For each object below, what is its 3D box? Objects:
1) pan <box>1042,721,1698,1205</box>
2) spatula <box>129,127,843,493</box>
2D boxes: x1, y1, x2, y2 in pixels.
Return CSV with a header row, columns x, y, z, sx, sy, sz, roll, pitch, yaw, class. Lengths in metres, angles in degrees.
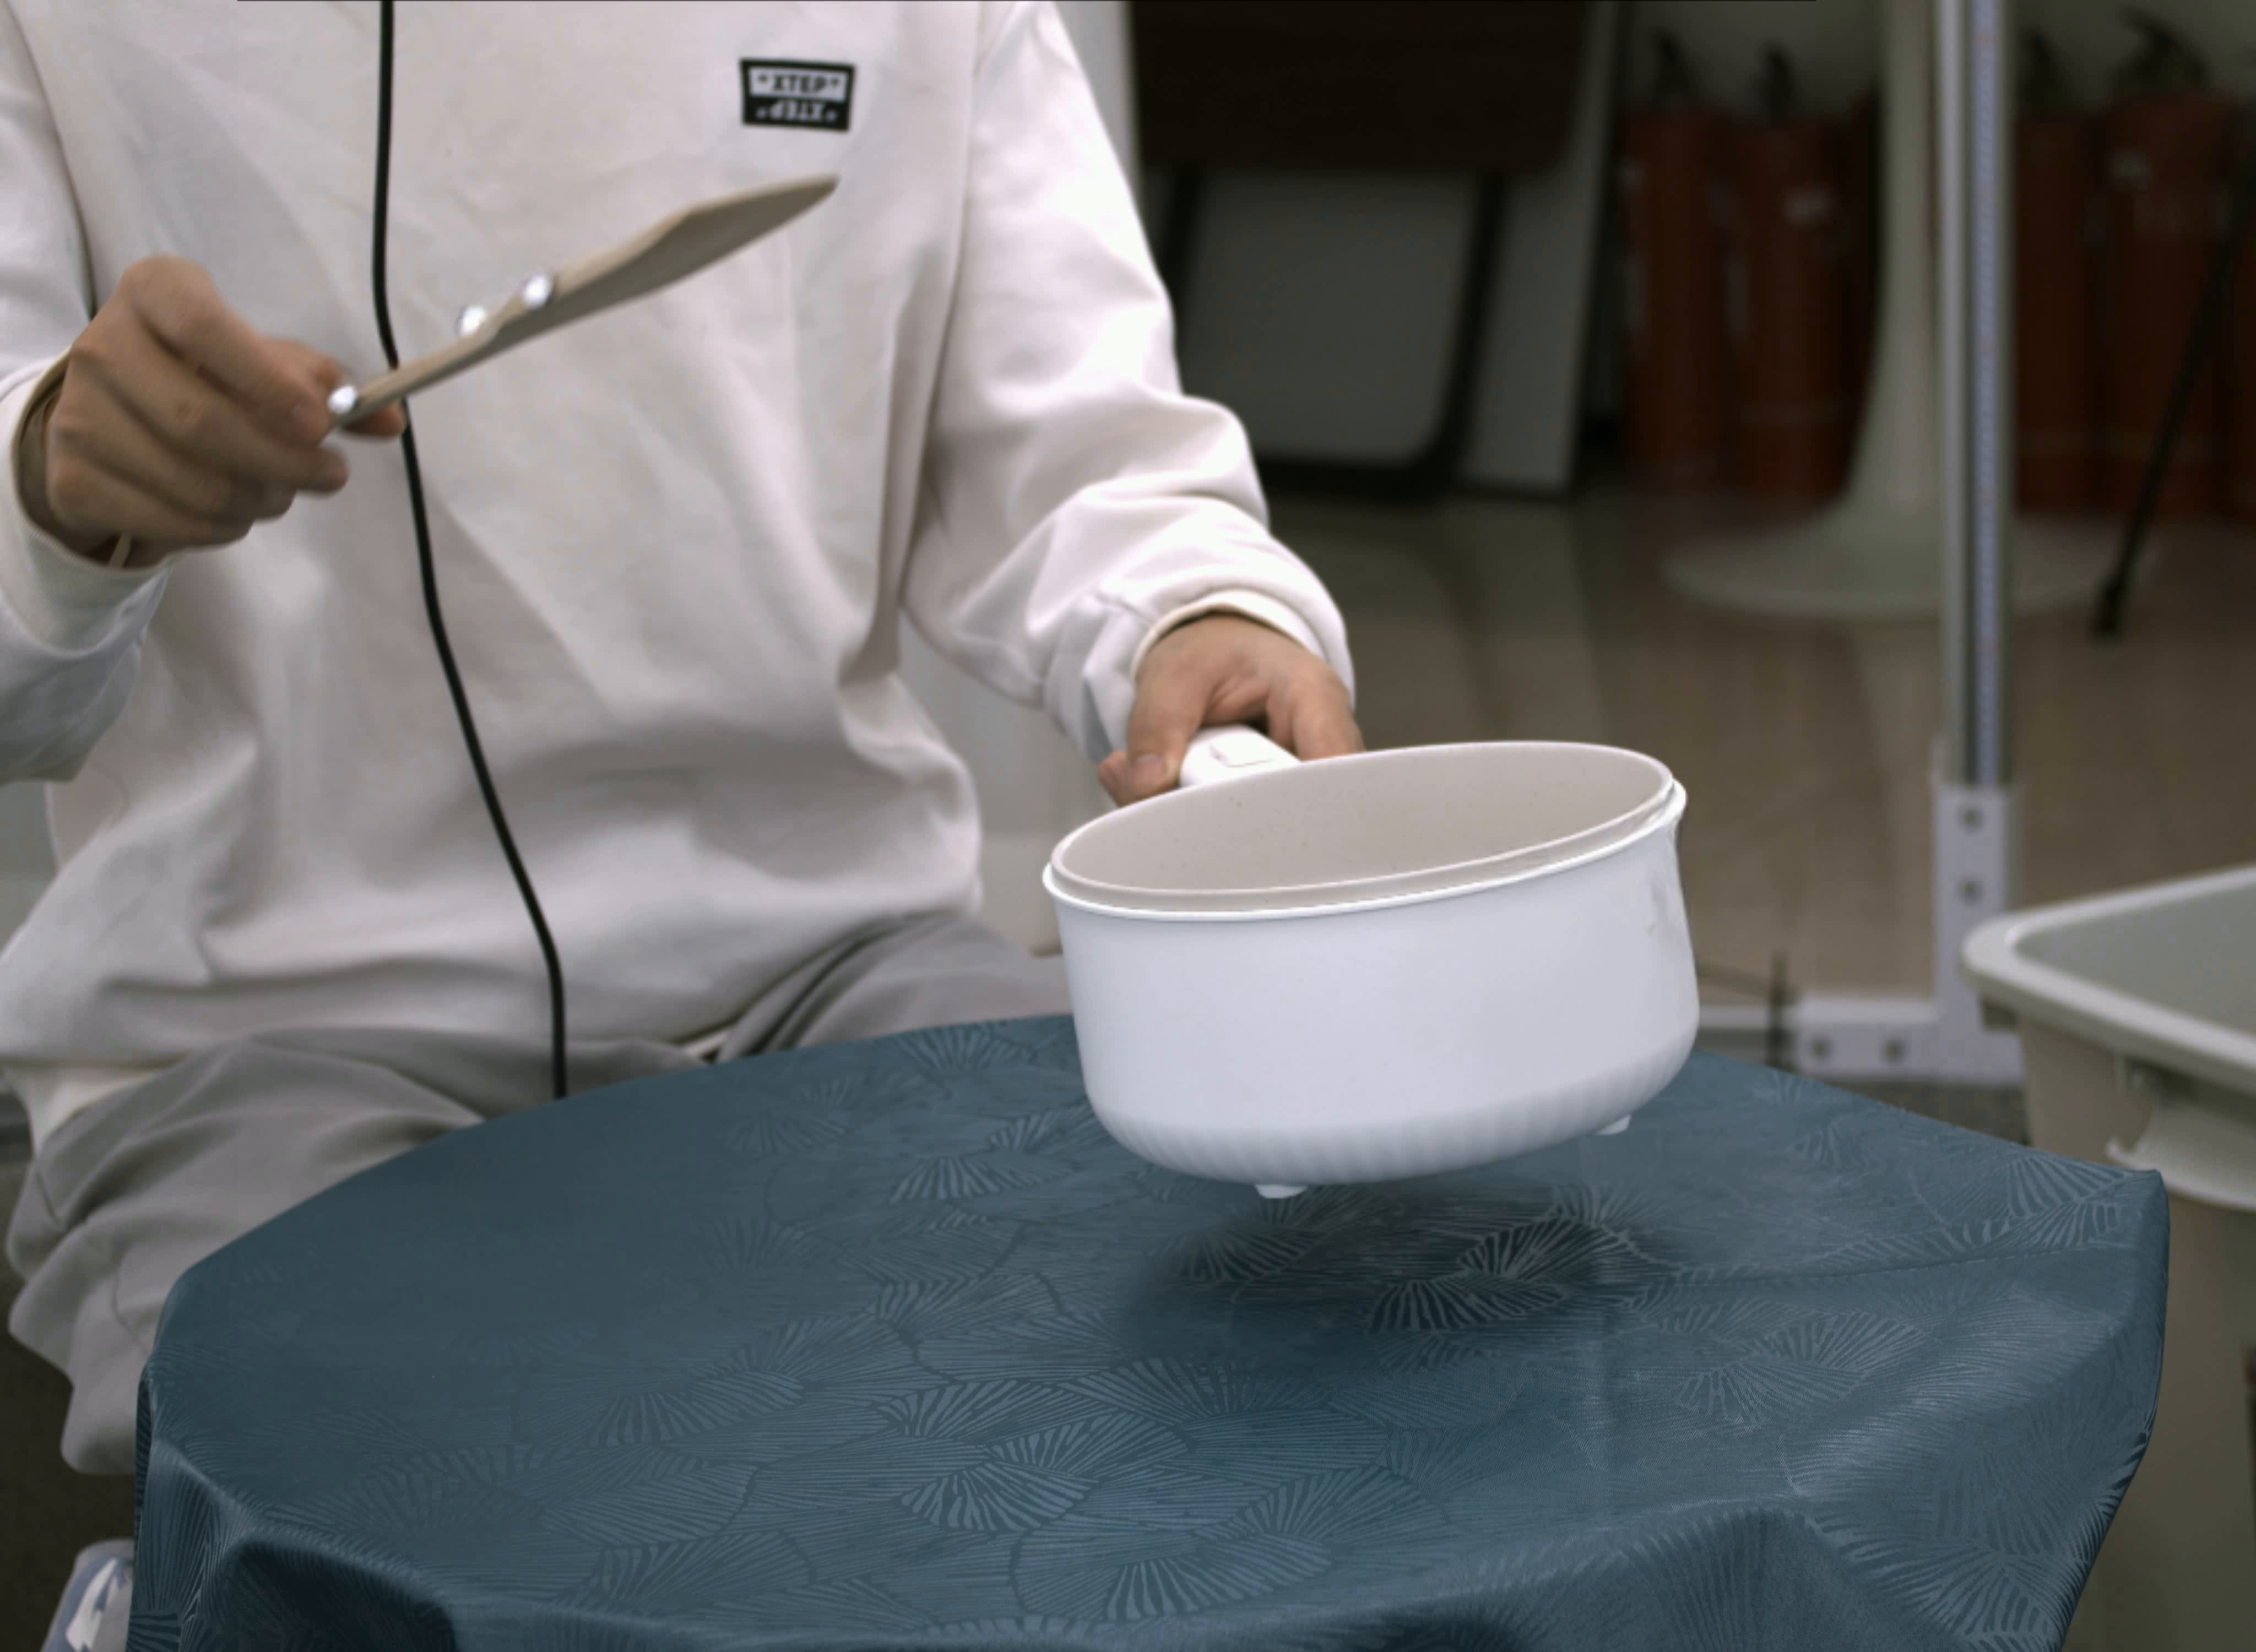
x,y,z,sx,sy,sz,roll,pitch,yaw,class
0.062,0.036,1.741,0.198,0.103,0.357,-12,10,-10,pan
-0.203,-0.147,1.611,0.295,0.011,0.071,-21,0,40,spatula
